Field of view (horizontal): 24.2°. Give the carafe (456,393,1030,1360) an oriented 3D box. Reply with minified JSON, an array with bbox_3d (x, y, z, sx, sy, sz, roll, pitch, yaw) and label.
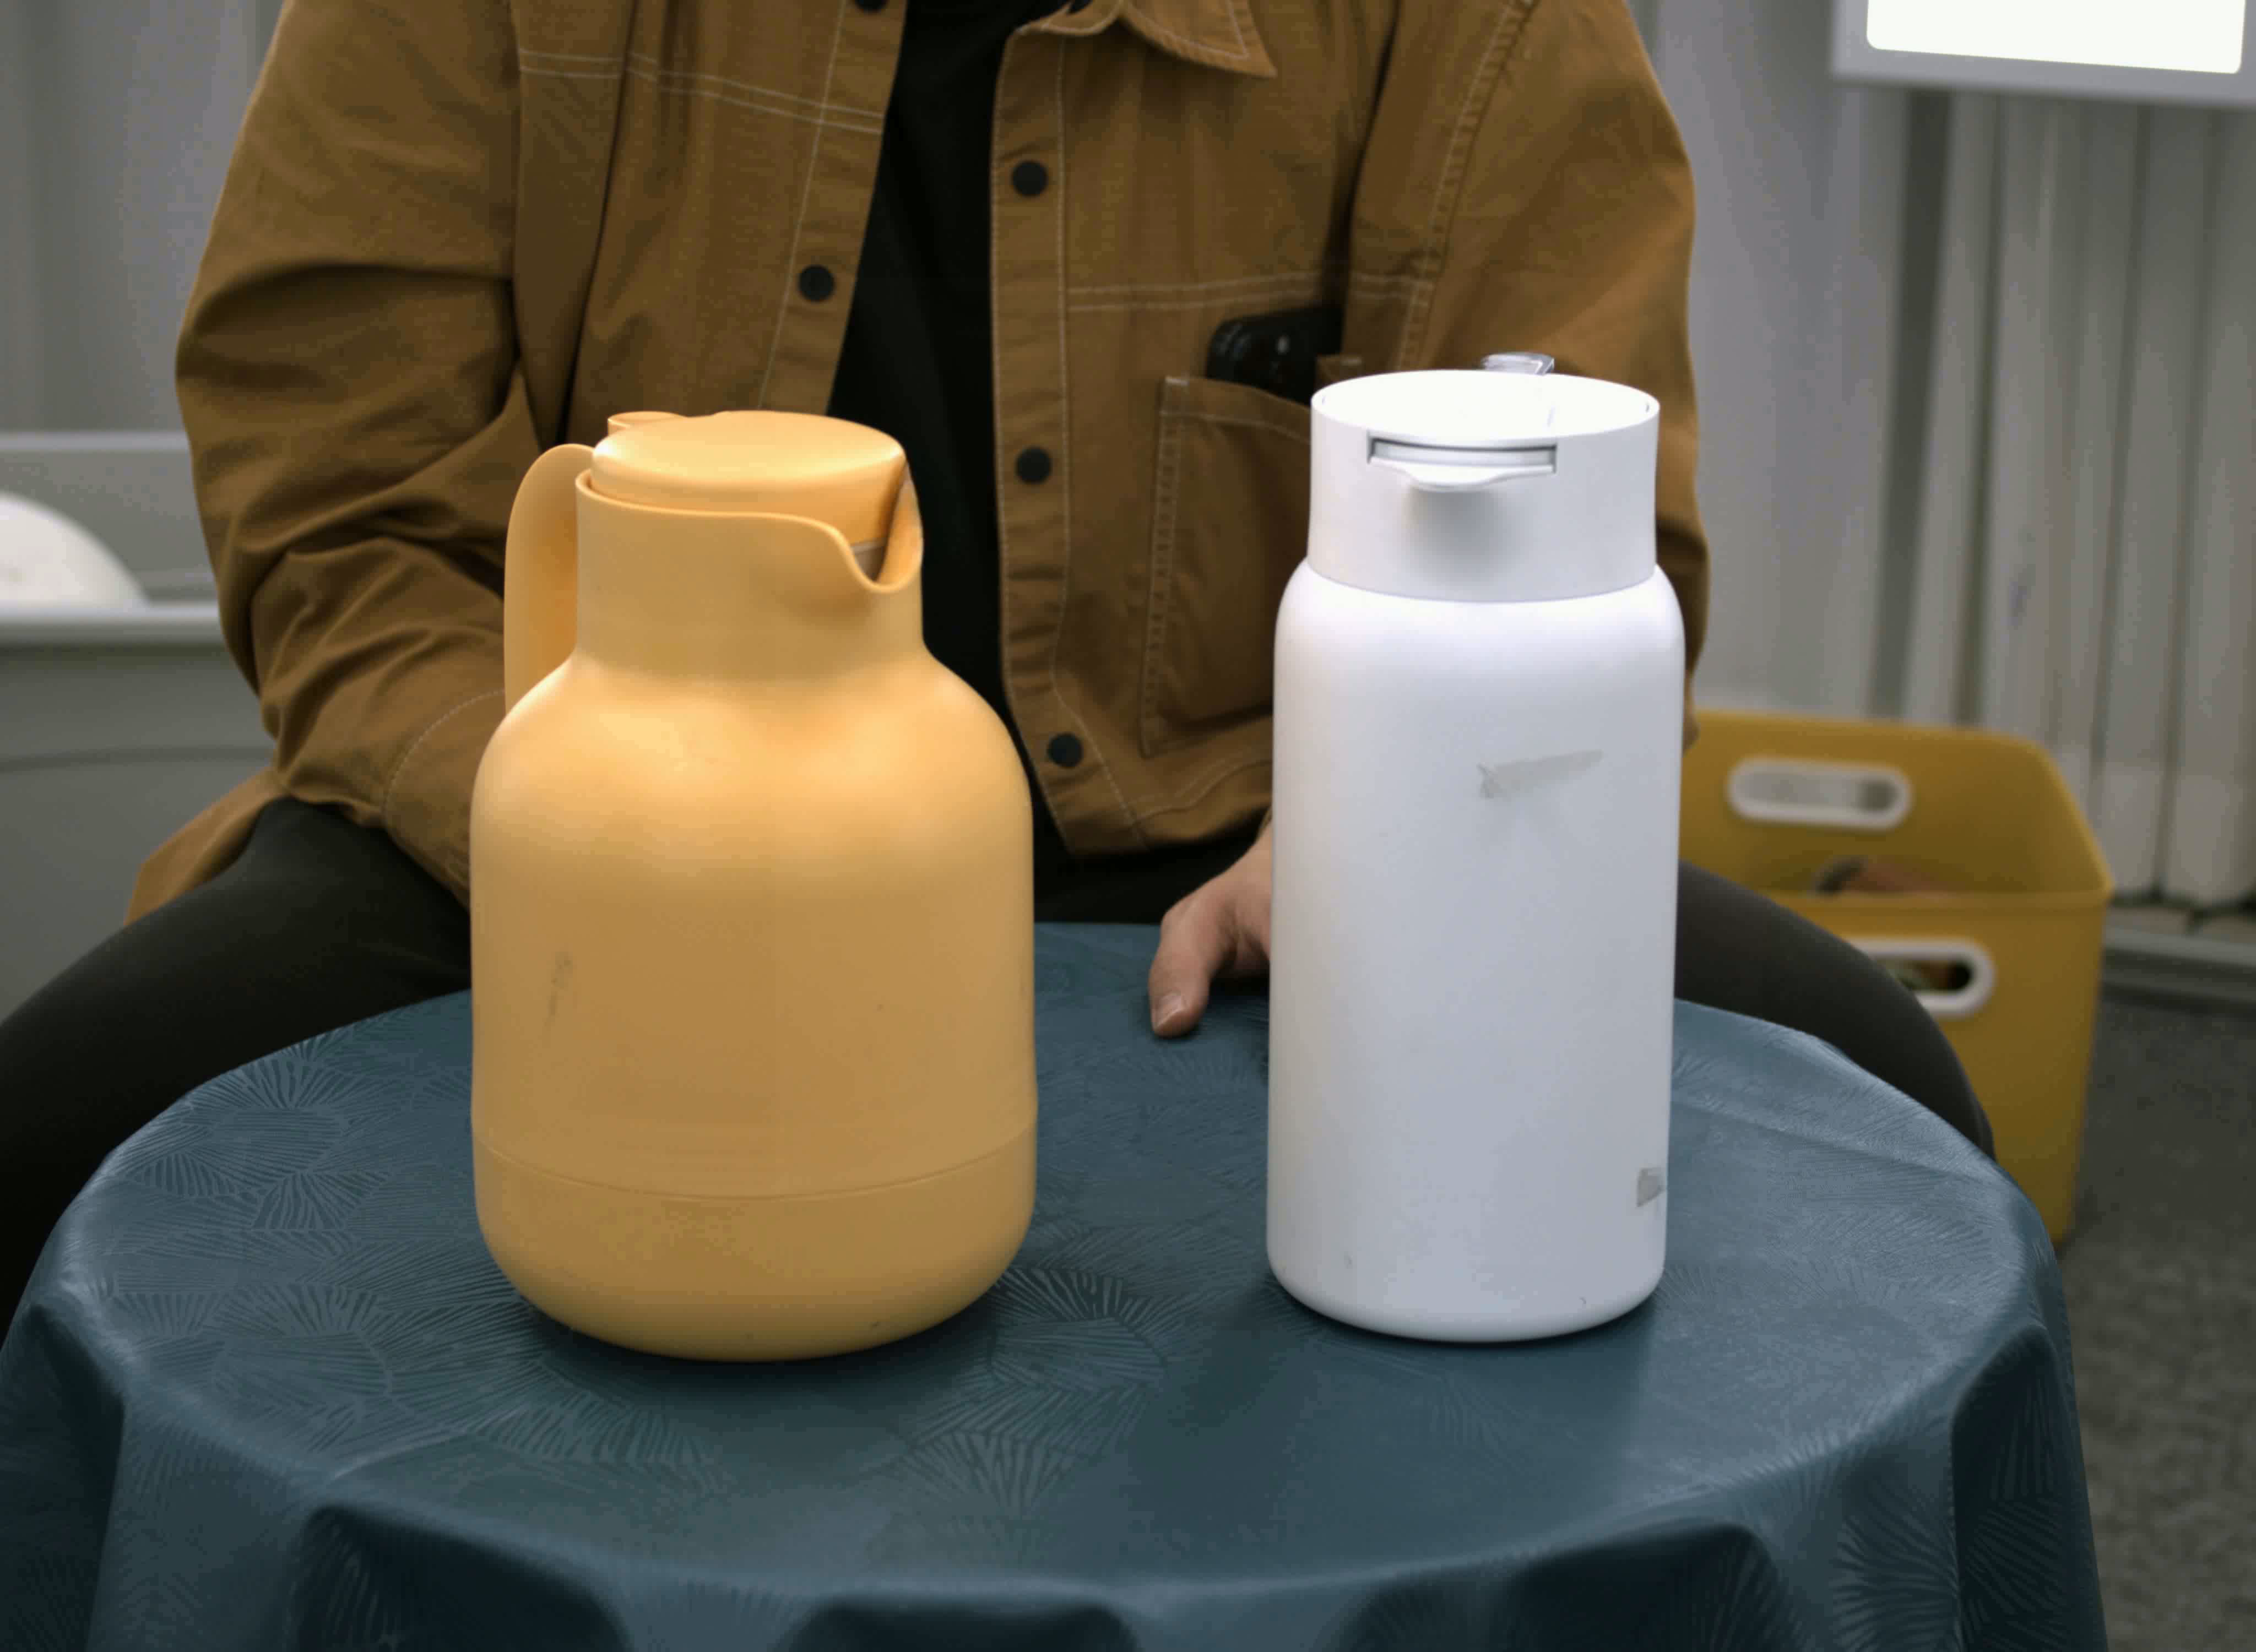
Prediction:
[{"bbox_3d":[-0.118,0.006,1.508,0.164,0.262,0.199,-7,18,-33],"label":"carafe"}]

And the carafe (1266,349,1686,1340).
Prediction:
[{"bbox_3d":[0.102,0.001,1.525,0.123,0.271,0.172,2,16,12],"label":"carafe"}]
